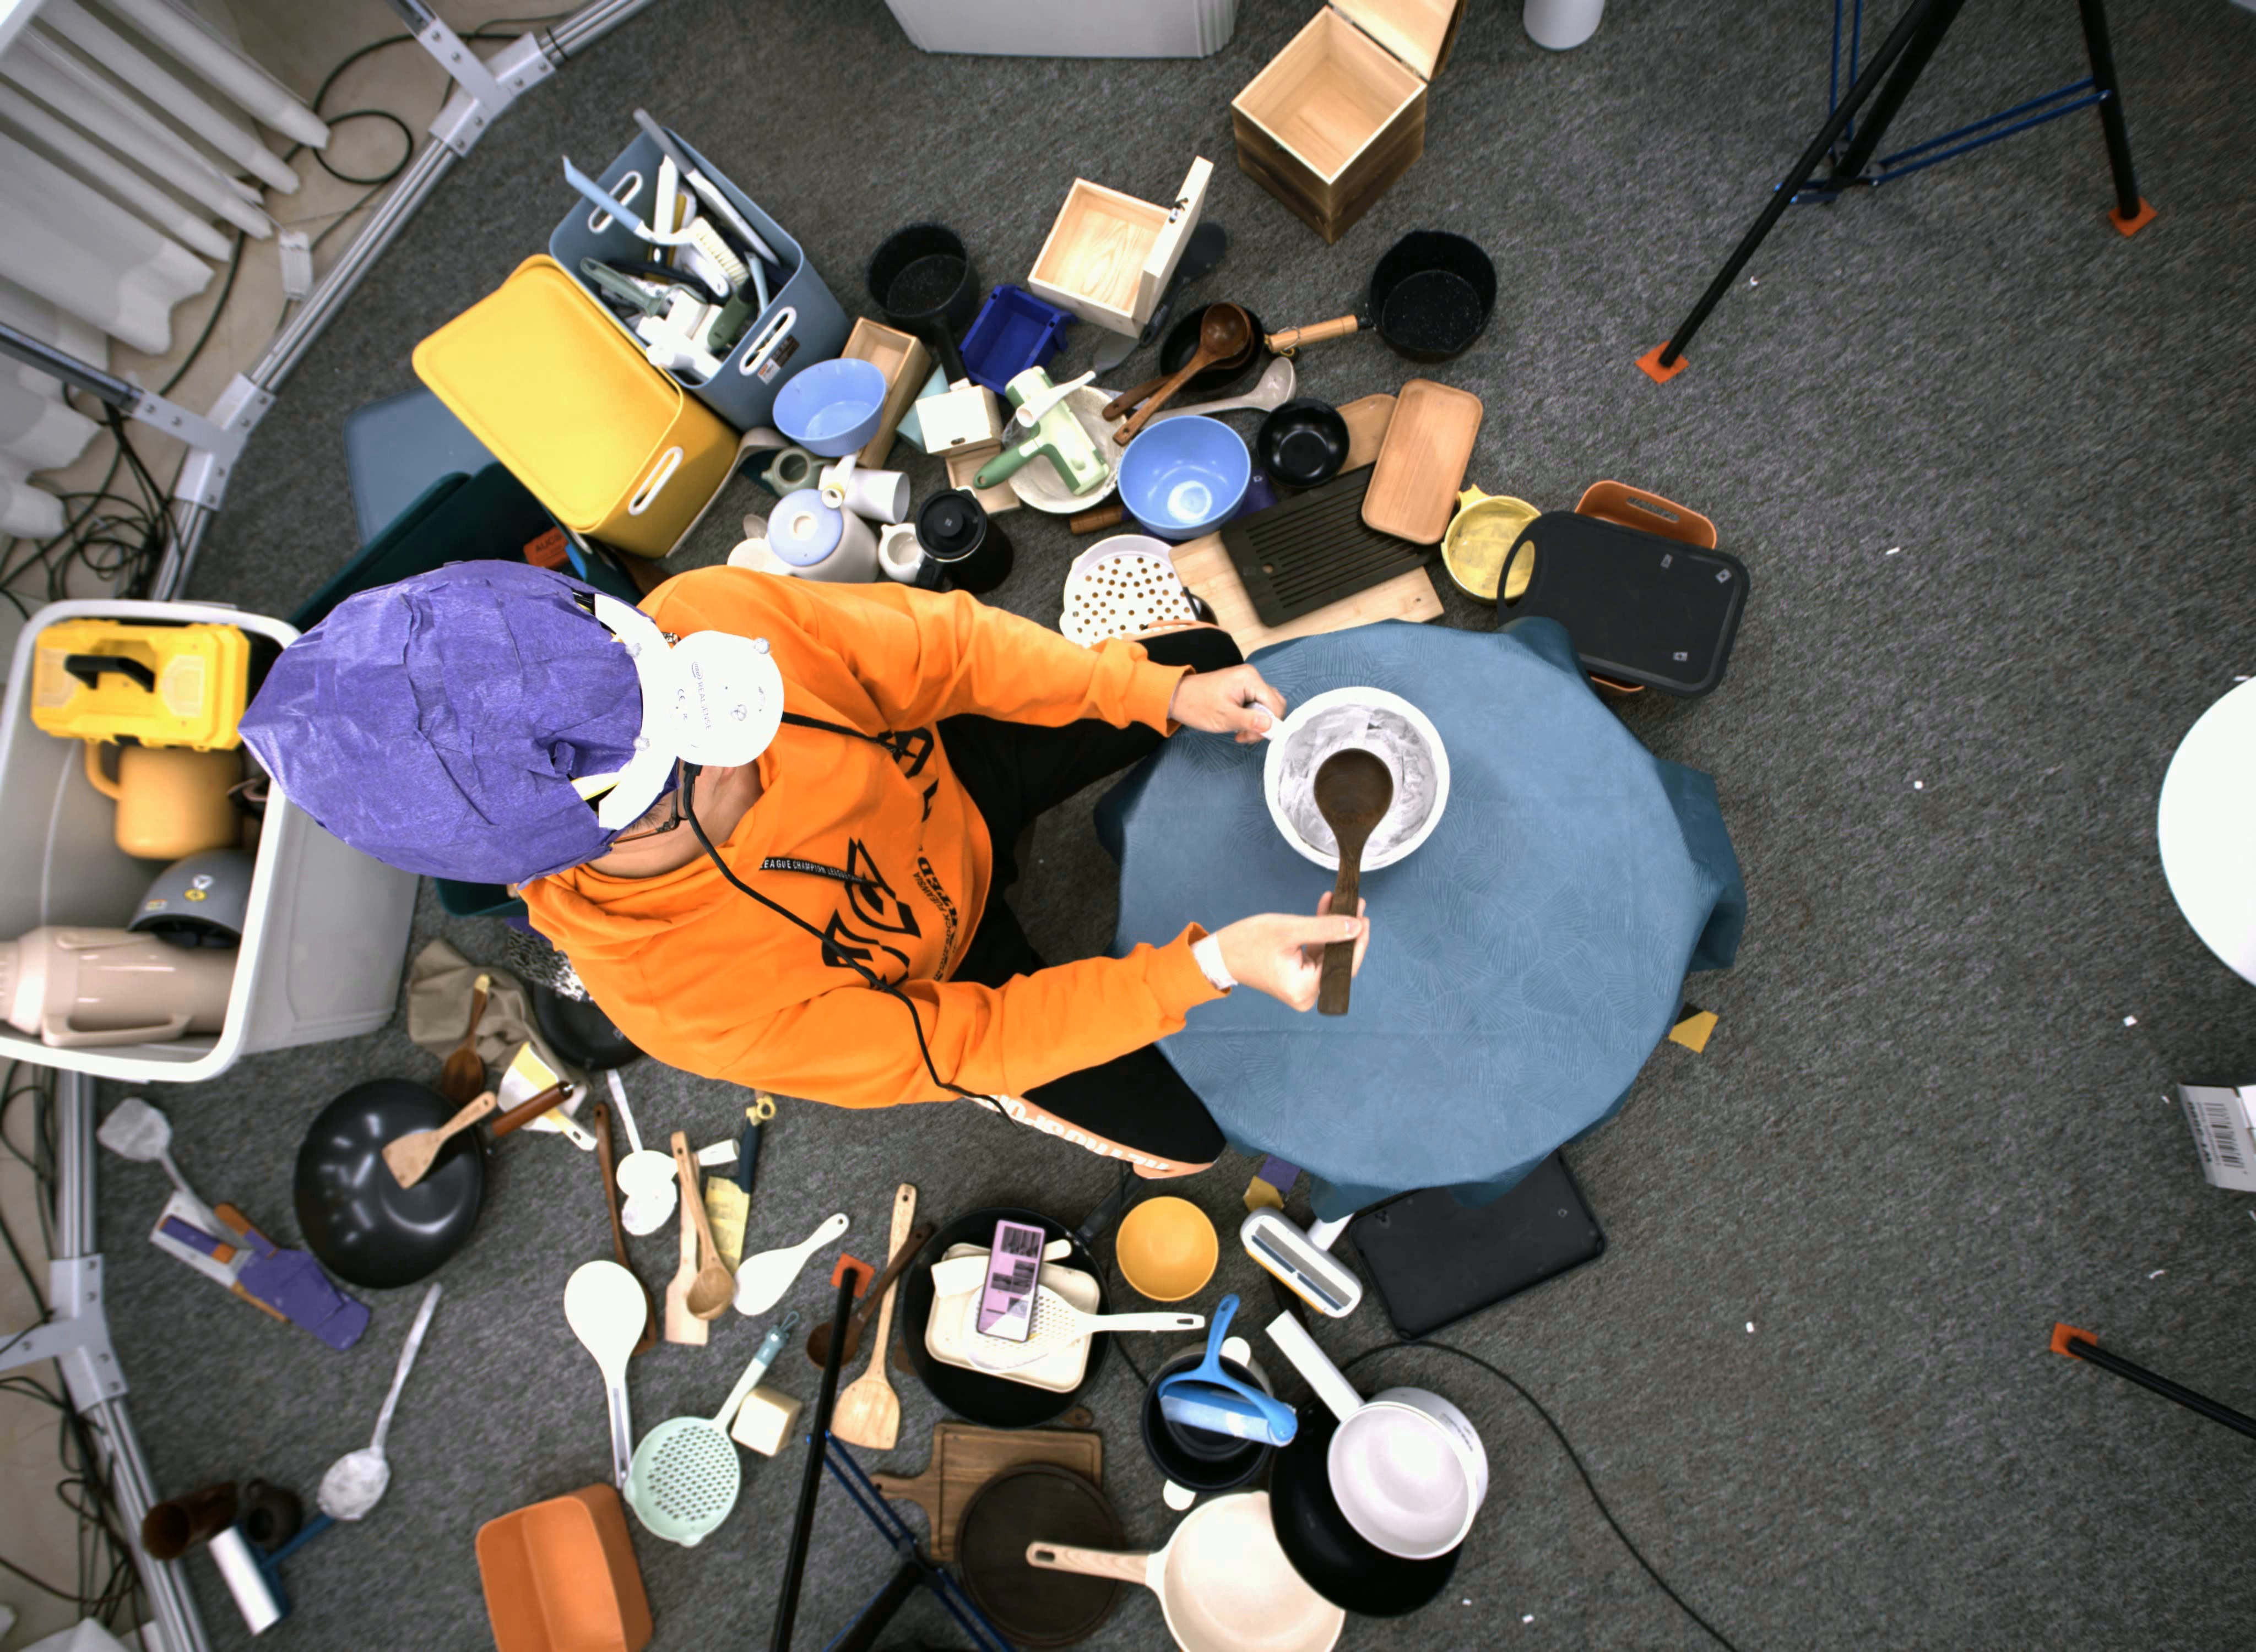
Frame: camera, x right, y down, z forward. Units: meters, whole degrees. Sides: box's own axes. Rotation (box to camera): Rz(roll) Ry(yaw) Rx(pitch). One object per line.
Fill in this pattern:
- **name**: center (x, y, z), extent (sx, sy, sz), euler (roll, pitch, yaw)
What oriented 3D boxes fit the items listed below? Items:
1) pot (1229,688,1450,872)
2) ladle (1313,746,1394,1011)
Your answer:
- **pot**: center (0.203, -0.057, 1.388), extent (0.233, 0.136, 0.179), euler (32, 93, 7)
- **ladle**: center (0.191, 0.036, 1.216), extent (0.076, 0.073, 0.266), euler (0, 43, 16)
